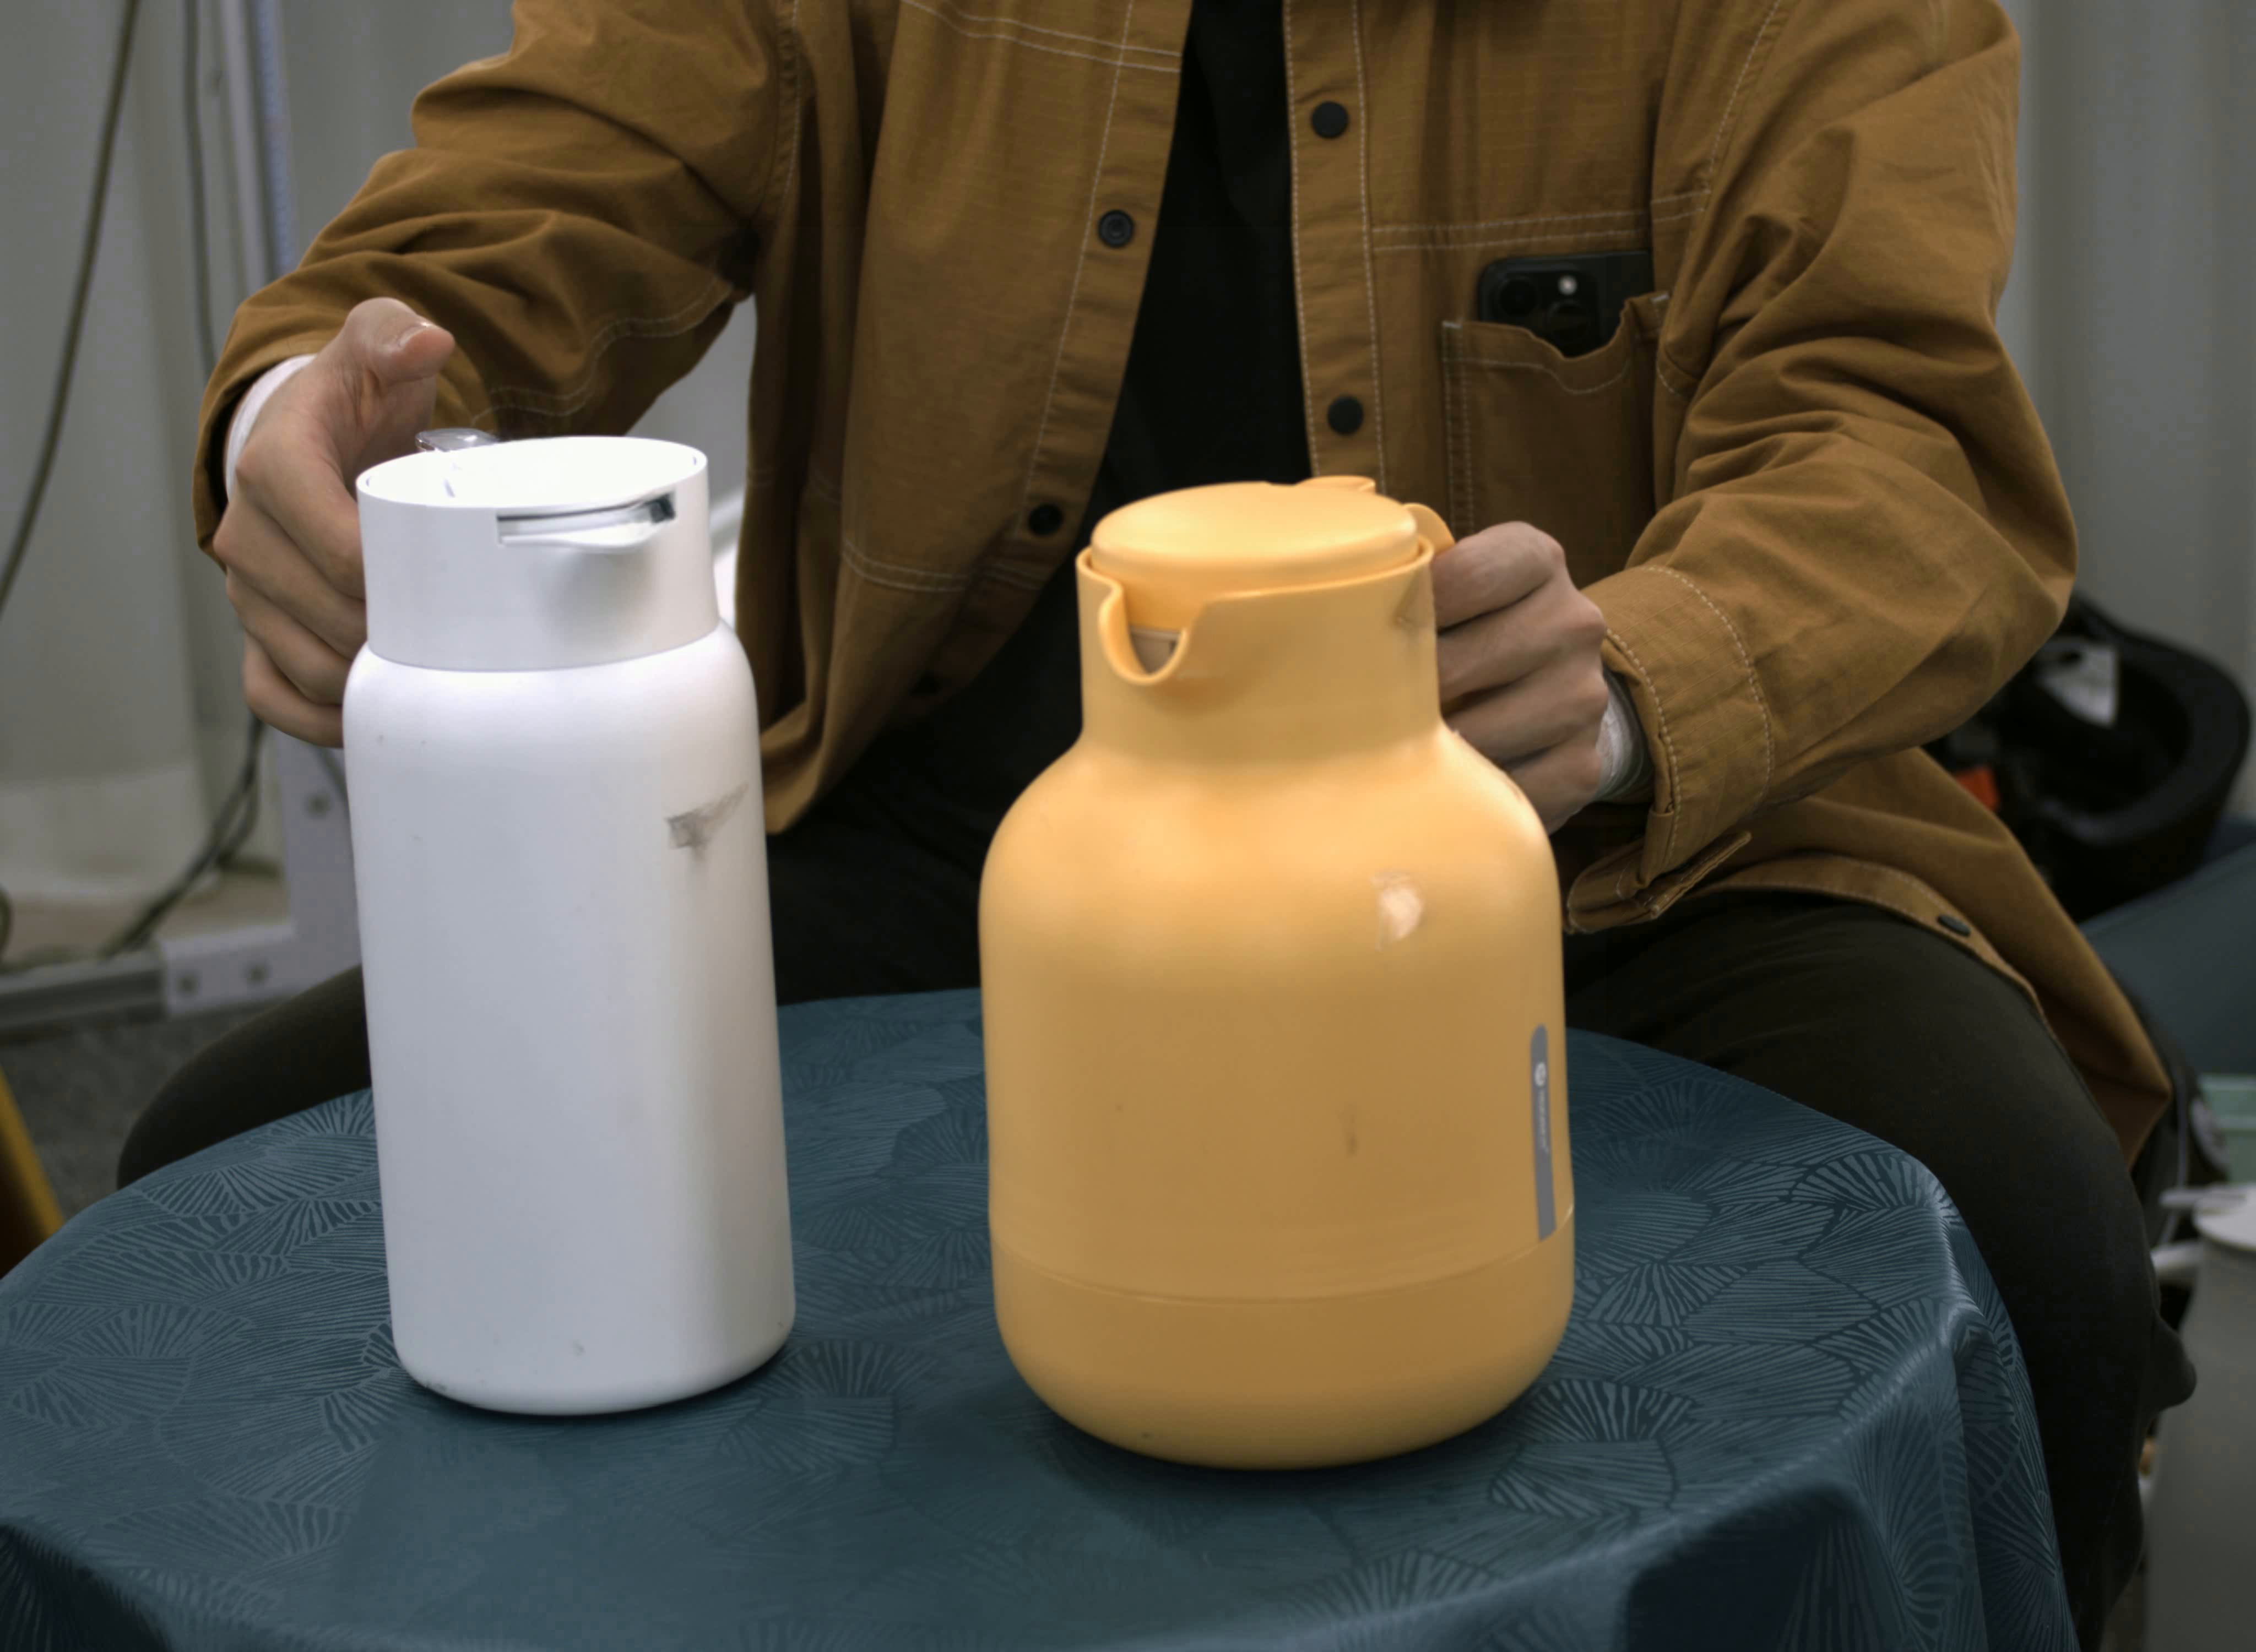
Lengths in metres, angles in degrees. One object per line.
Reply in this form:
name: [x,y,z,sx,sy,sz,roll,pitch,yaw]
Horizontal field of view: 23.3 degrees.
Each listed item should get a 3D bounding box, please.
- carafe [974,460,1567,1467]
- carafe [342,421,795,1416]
carafe: [0.048,0.029,1.517,0.164,0.259,0.203,8,19,27]
carafe: [-0.170,0.023,1.575,0.123,0.268,0.174,-12,15,-26]
